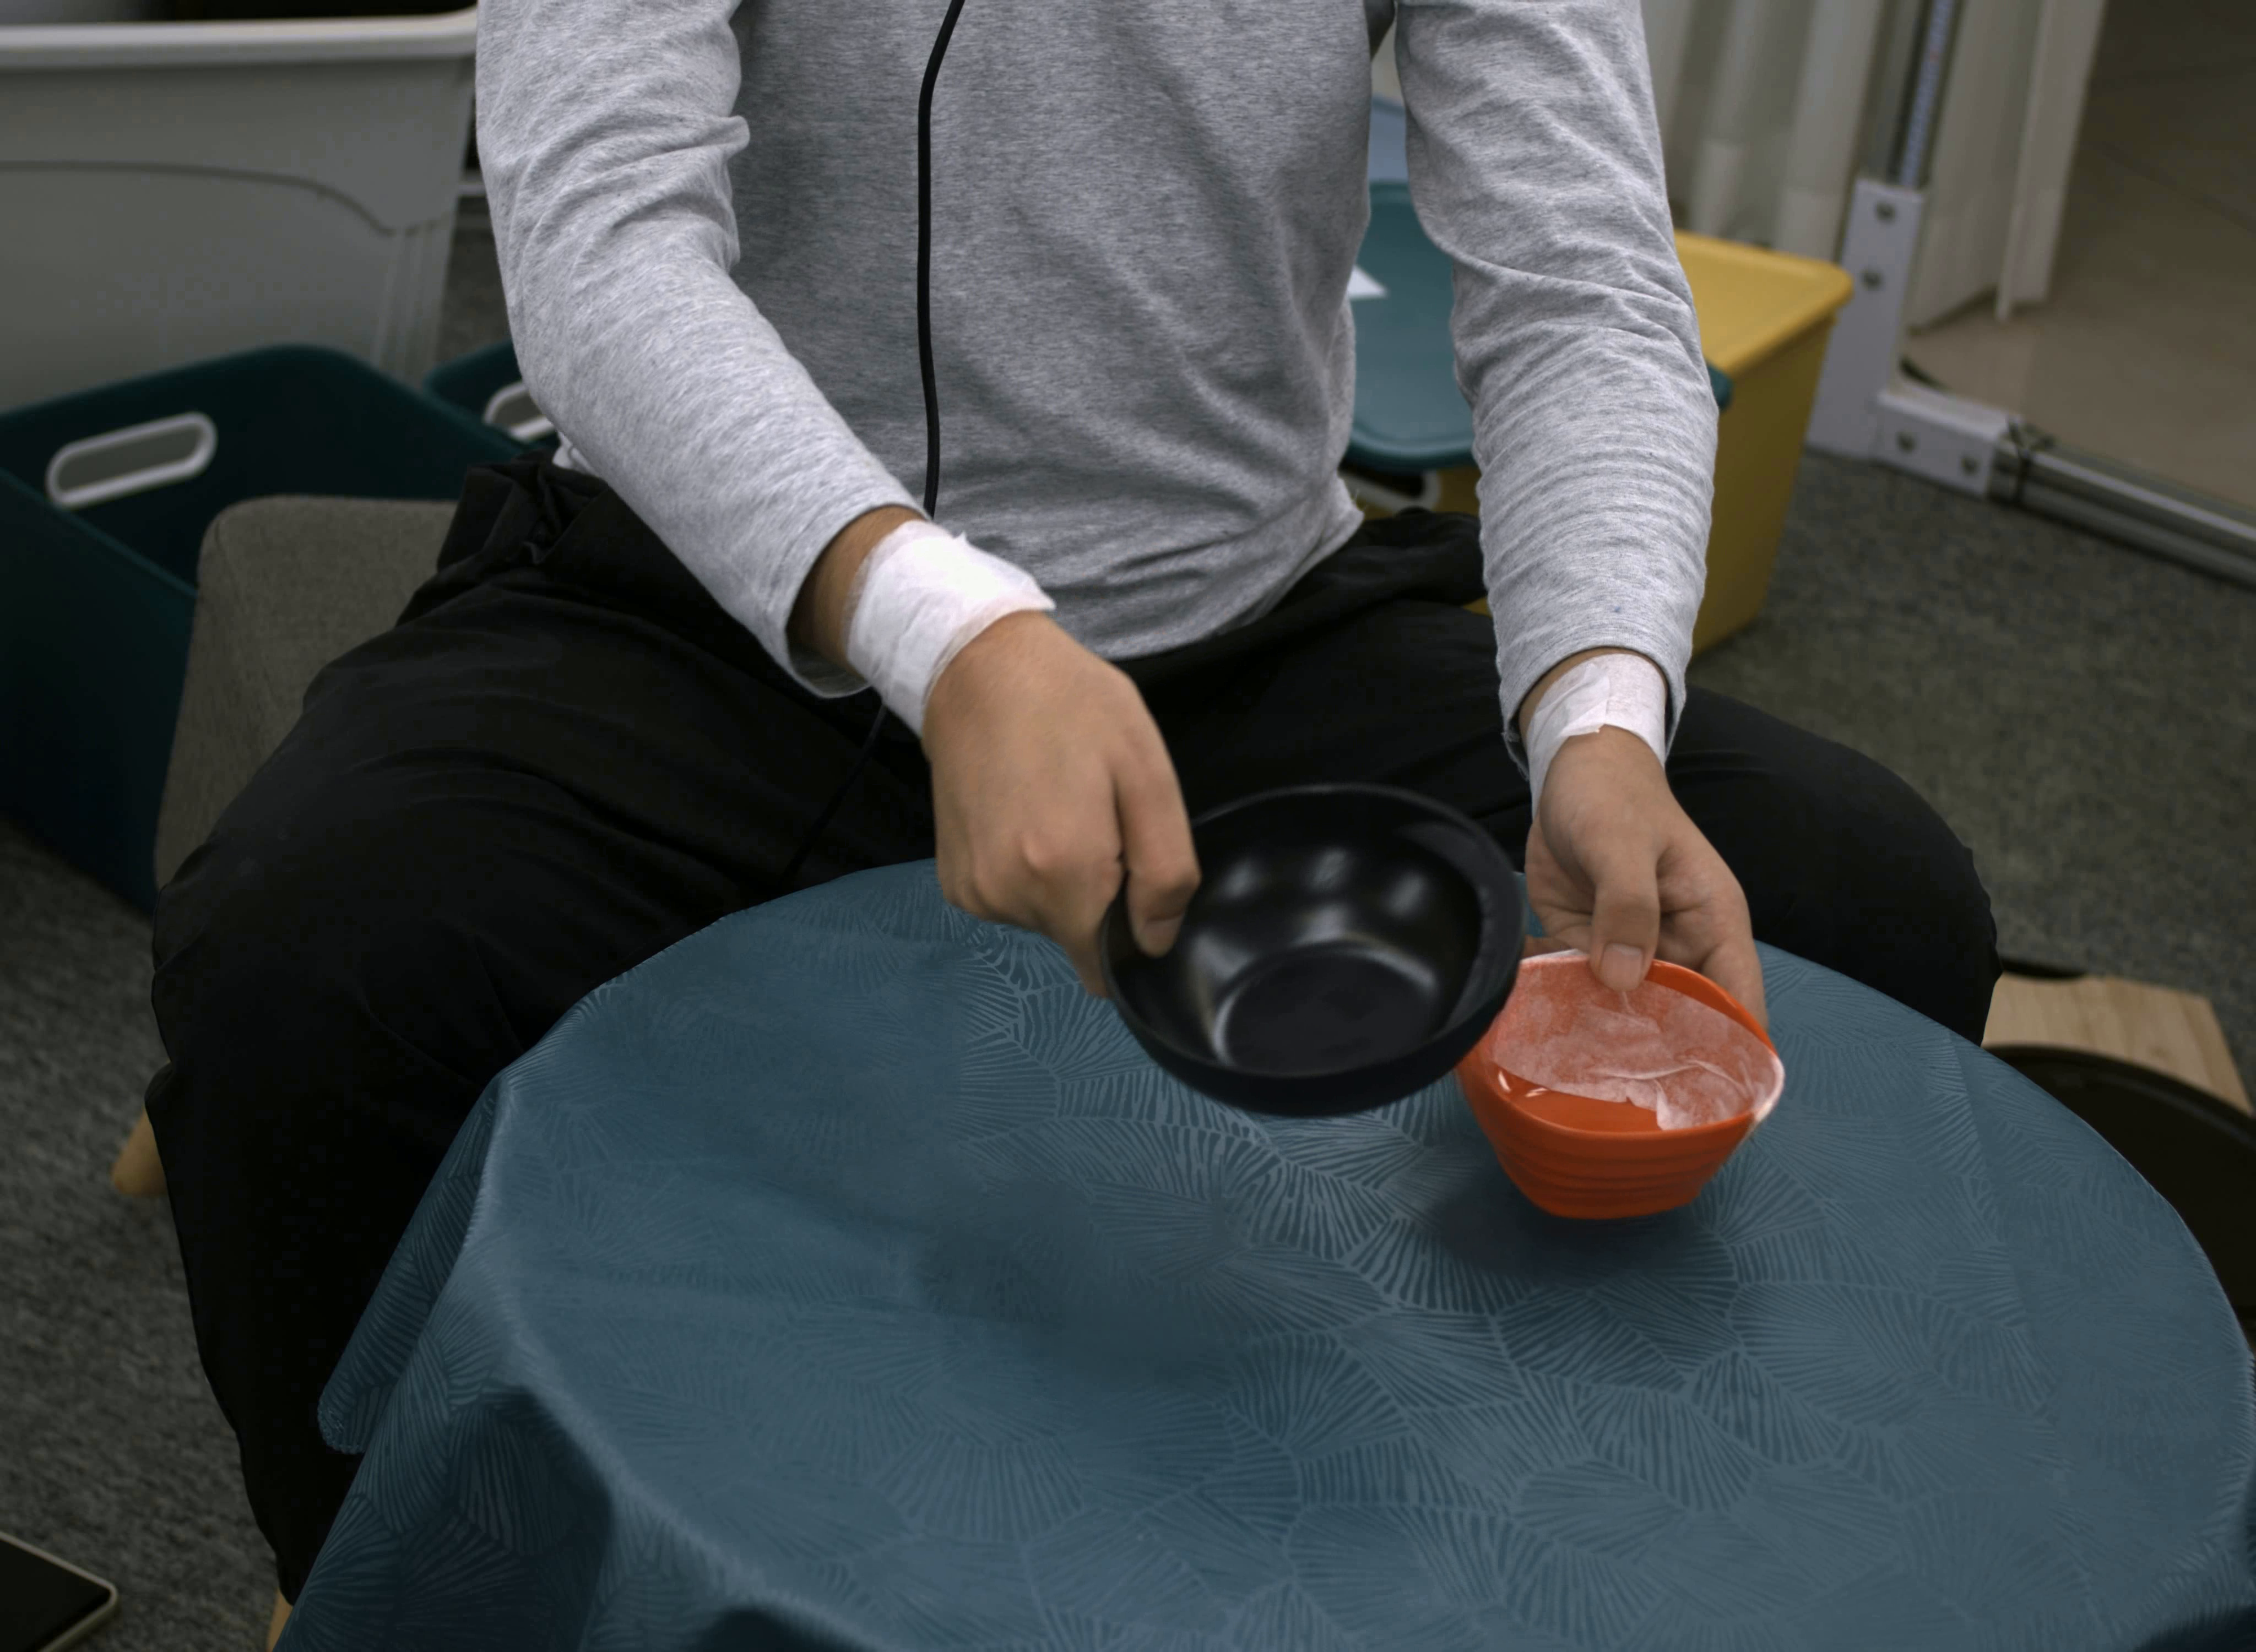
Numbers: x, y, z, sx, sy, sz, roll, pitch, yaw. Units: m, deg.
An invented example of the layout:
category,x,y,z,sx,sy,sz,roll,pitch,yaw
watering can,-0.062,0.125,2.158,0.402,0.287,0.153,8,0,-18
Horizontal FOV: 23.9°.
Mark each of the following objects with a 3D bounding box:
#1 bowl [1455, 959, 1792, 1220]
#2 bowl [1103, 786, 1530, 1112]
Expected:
category,x,y,z,sx,sy,sz,roll,pitch,yaw
bowl,0.165,0.094,1.813,0.118,0.051,0.119,3,29,-2
bowl,0.064,0.048,1.722,0.140,0.049,0.141,-8,37,6
